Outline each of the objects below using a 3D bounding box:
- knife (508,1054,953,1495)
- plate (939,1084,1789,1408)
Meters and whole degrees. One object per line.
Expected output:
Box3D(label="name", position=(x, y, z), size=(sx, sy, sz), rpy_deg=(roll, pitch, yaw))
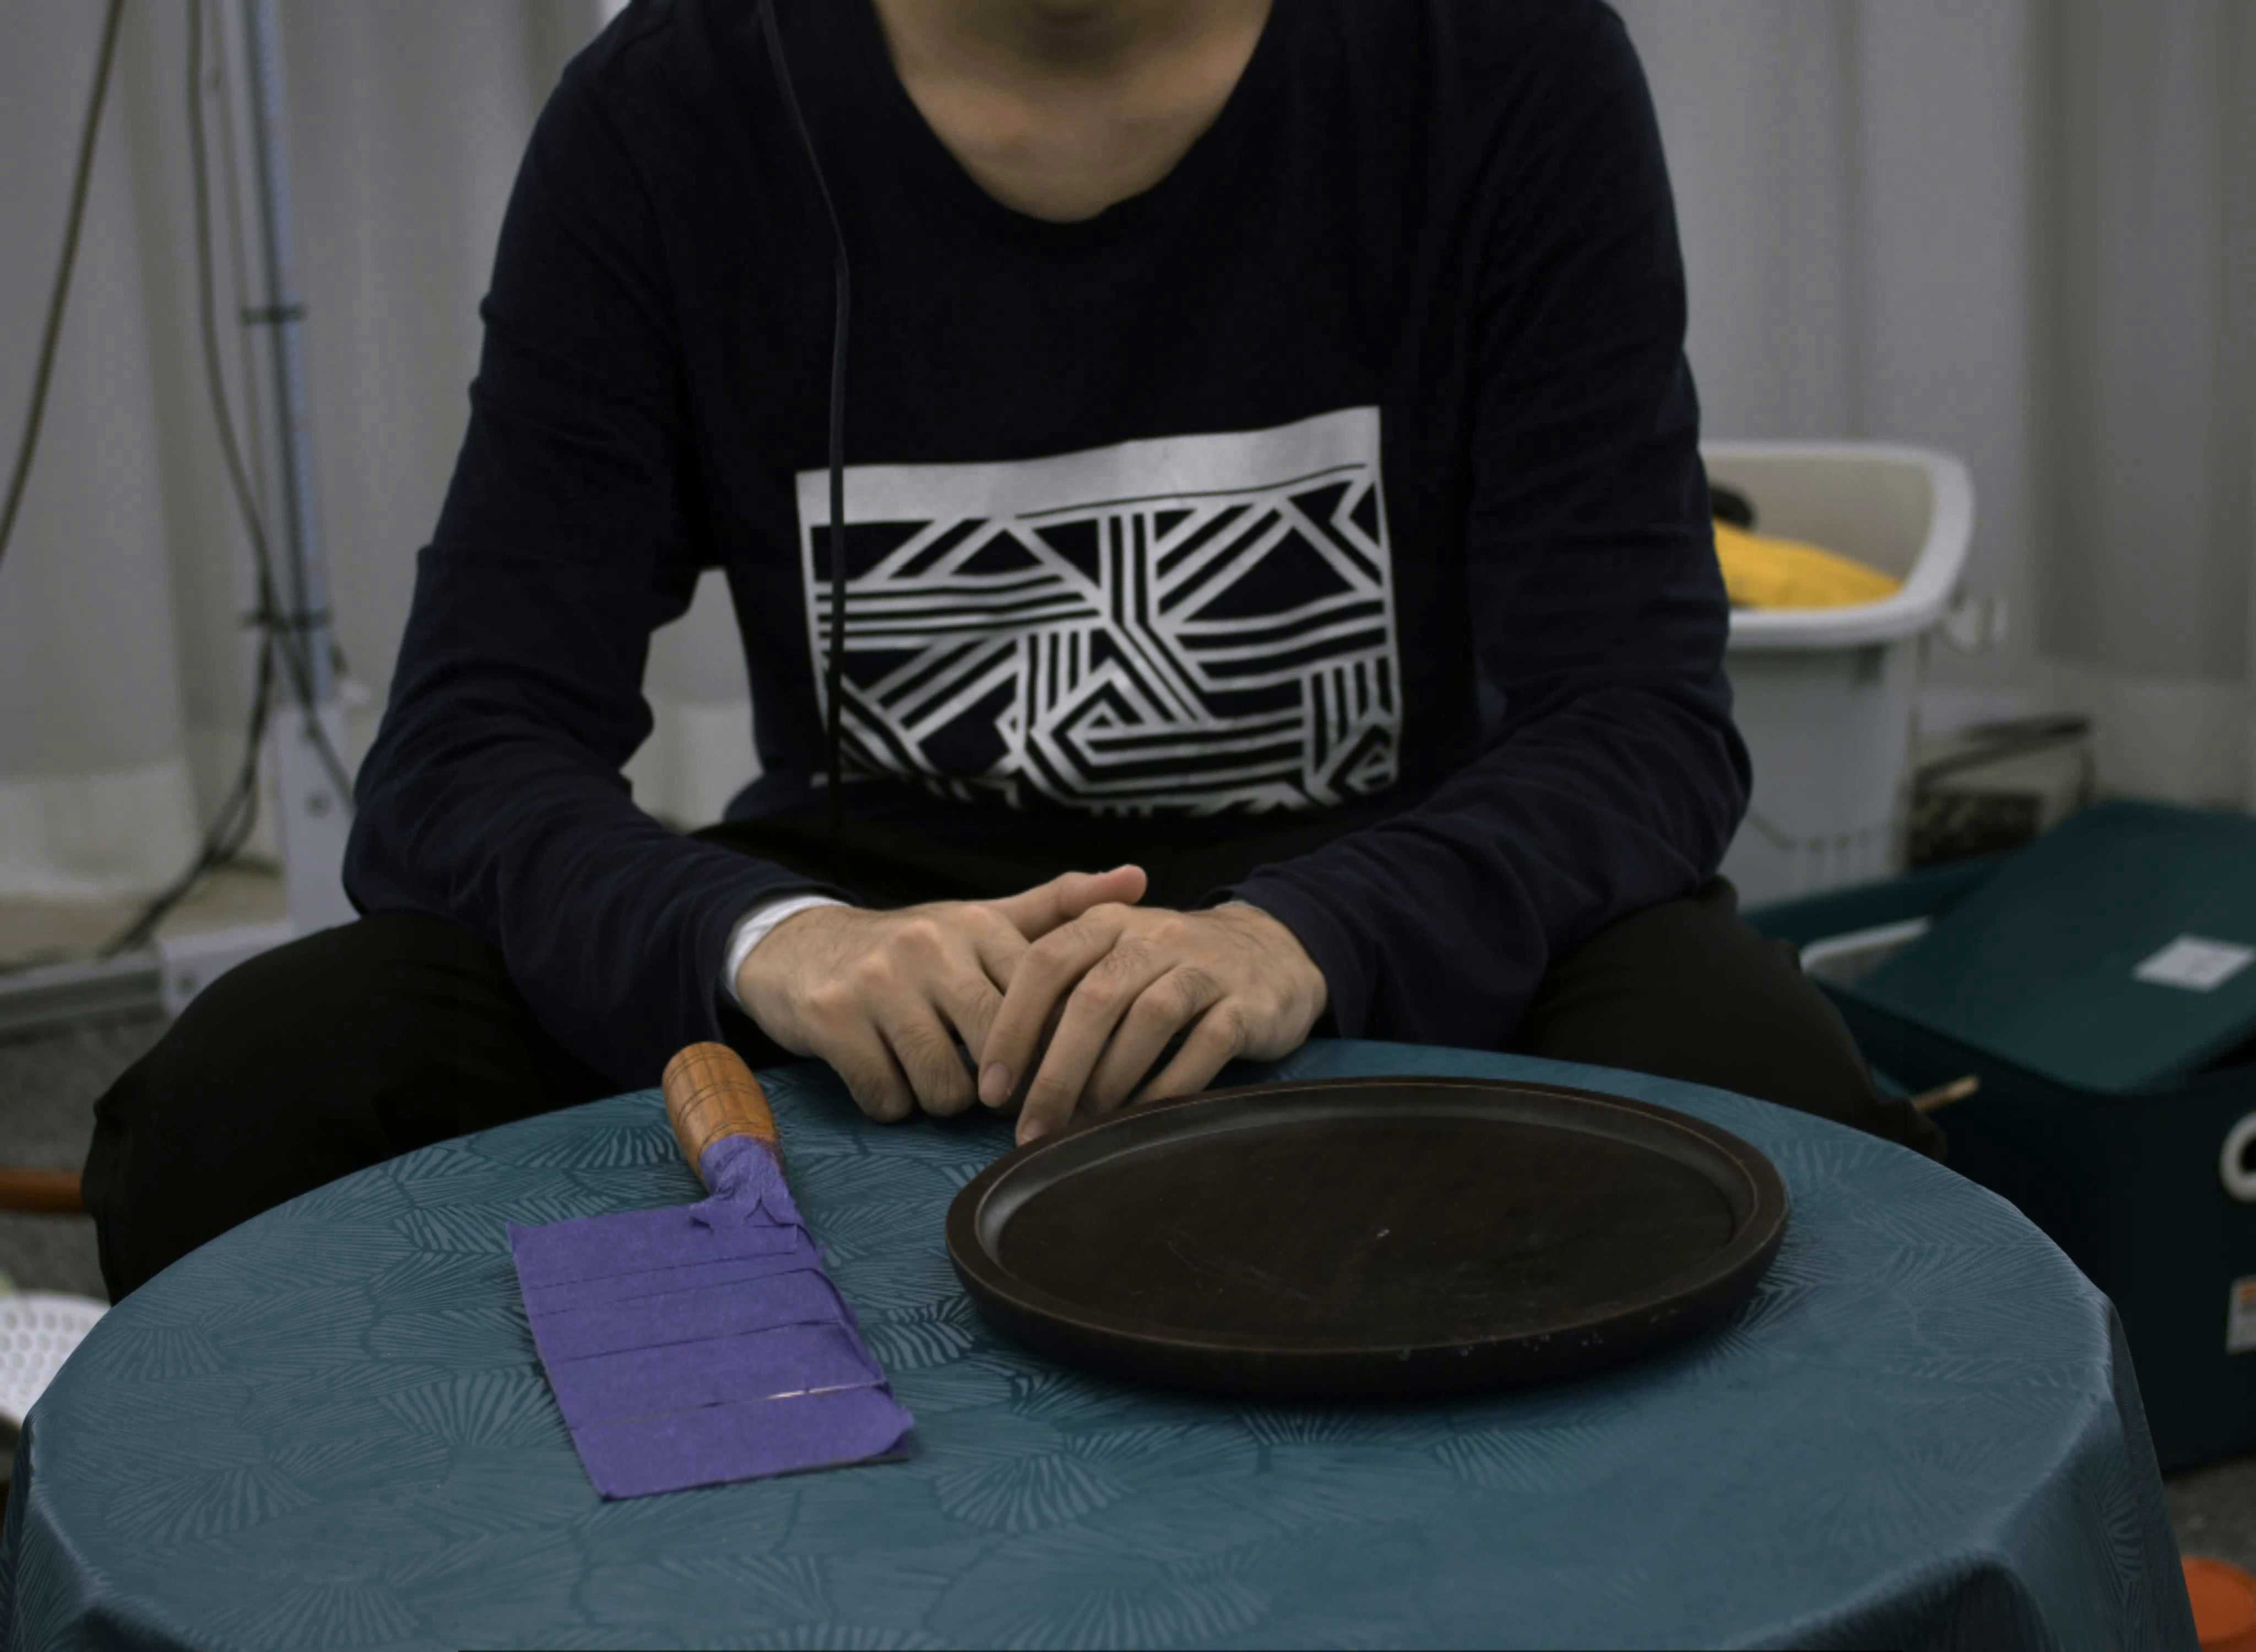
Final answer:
Box3D(label="knife", position=(-0.135, 0.130, 1.634), size=(0.103, 0.032, 0.318), rpy_deg=(-6, 15, -13))
Box3D(label="plate", position=(0.070, 0.122, 1.631), size=(0.254, 0.029, 0.256), rpy_deg=(-2, 16, 0))
